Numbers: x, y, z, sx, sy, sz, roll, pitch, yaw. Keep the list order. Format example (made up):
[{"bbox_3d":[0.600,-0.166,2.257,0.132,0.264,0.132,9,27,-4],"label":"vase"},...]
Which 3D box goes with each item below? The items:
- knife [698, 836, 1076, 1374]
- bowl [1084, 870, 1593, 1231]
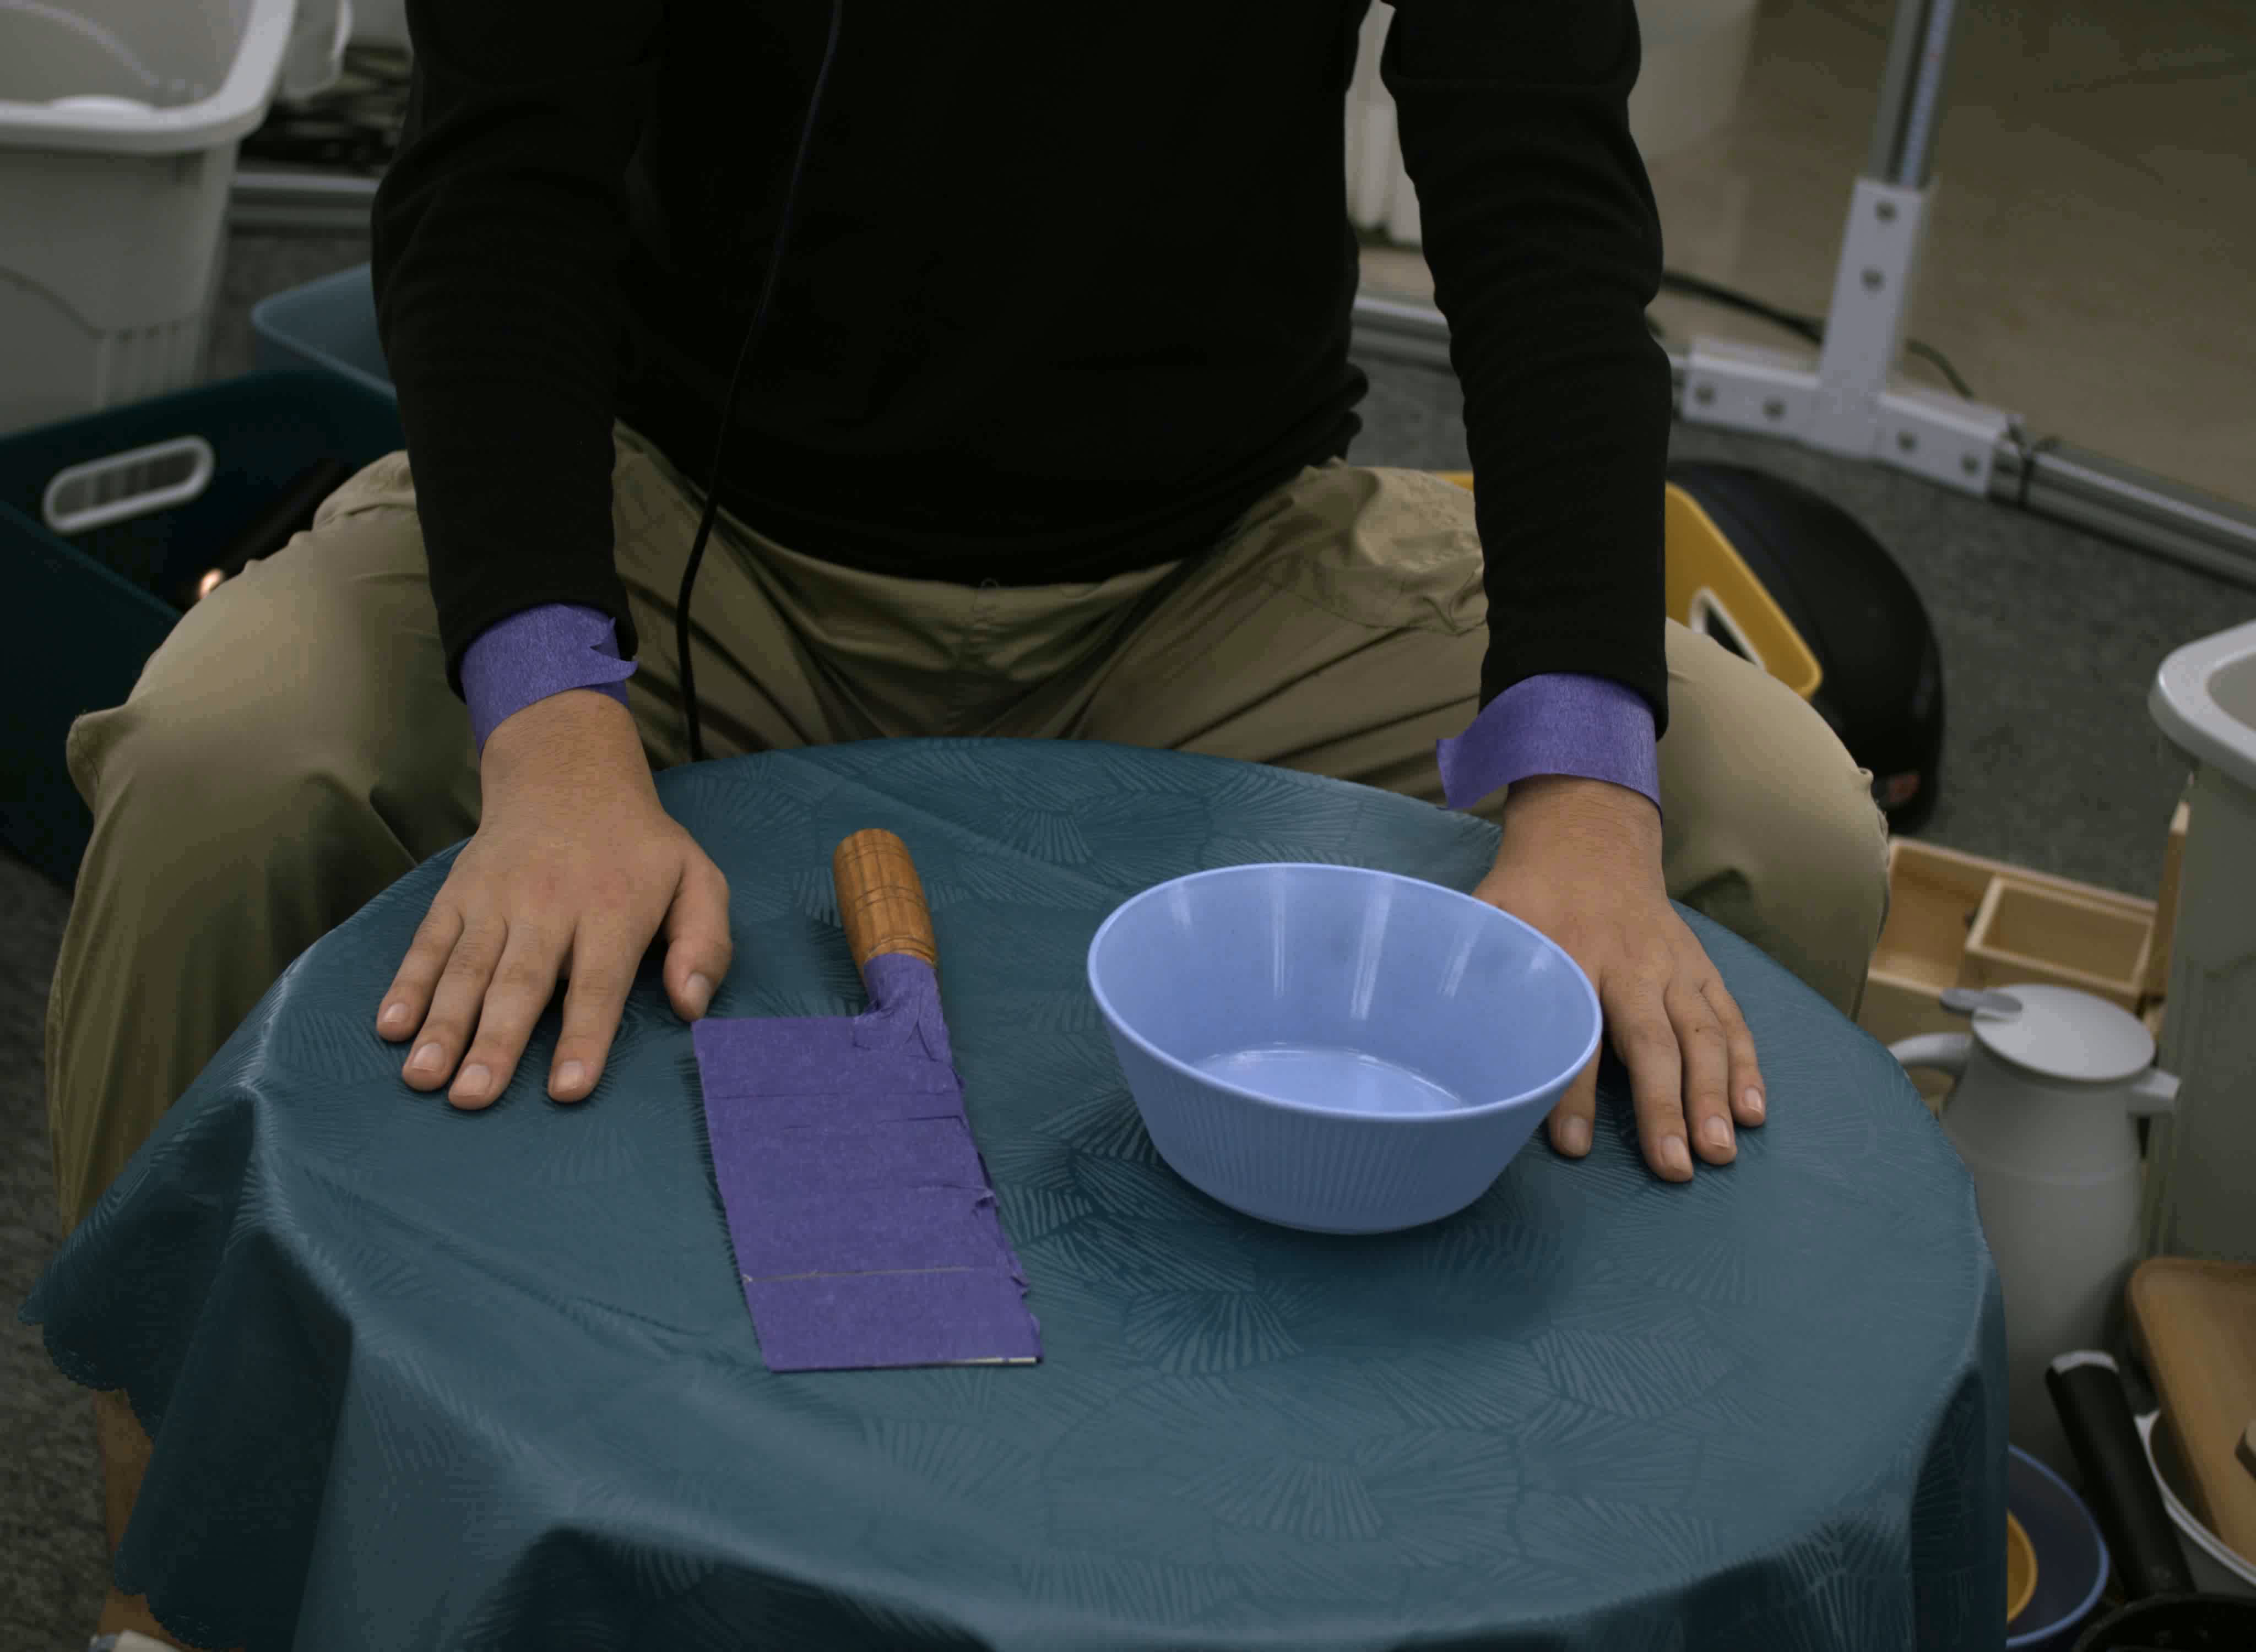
[{"bbox_3d":[-0.097,0.090,1.820,0.103,0.032,0.318,0,28,-13],"label":"knife"},{"bbox_3d":[0.068,0.082,1.823,0.175,0.070,0.177,6,26,-3],"label":"bowl"}]
